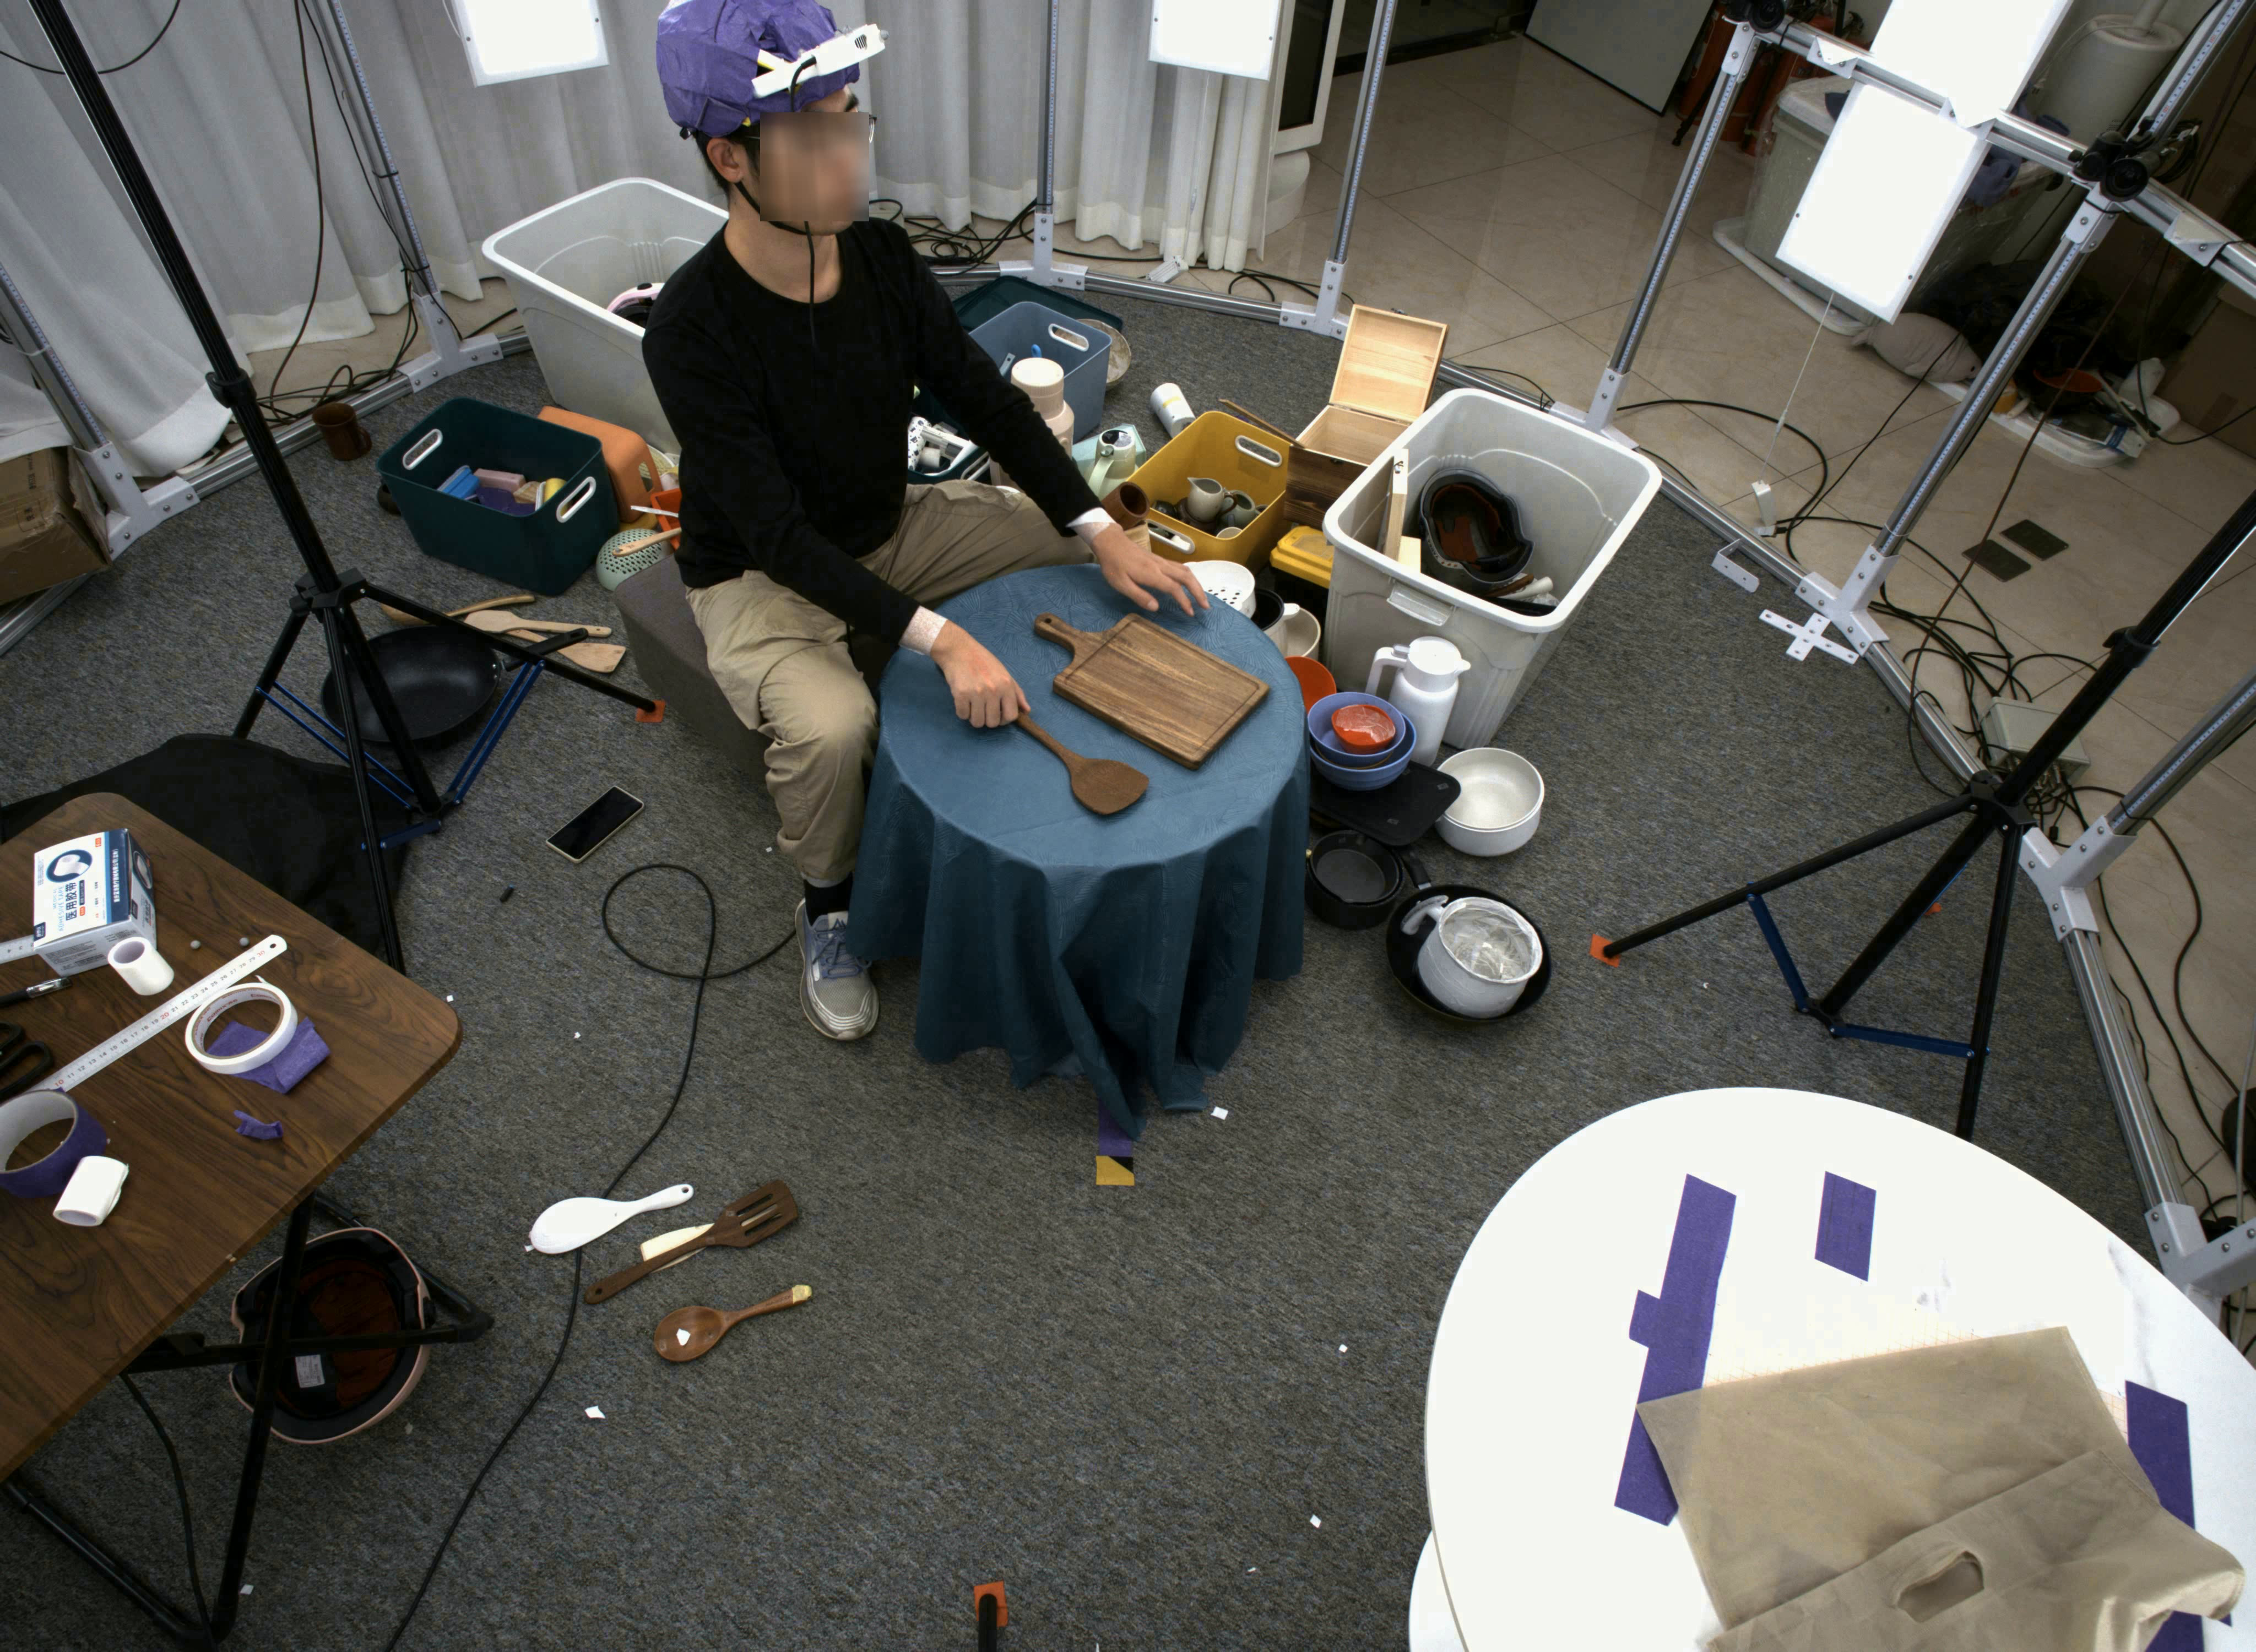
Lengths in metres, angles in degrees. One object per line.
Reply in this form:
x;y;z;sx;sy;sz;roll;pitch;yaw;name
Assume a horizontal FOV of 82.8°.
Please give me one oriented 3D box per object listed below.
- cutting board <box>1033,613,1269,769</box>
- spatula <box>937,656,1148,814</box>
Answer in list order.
0.008;-0.223;1.850;0.356;0.022;0.204;30;54;21;cutting board
-0.133;-0.137;1.769;0.391;0.015;0.097;38;57;26;spatula
